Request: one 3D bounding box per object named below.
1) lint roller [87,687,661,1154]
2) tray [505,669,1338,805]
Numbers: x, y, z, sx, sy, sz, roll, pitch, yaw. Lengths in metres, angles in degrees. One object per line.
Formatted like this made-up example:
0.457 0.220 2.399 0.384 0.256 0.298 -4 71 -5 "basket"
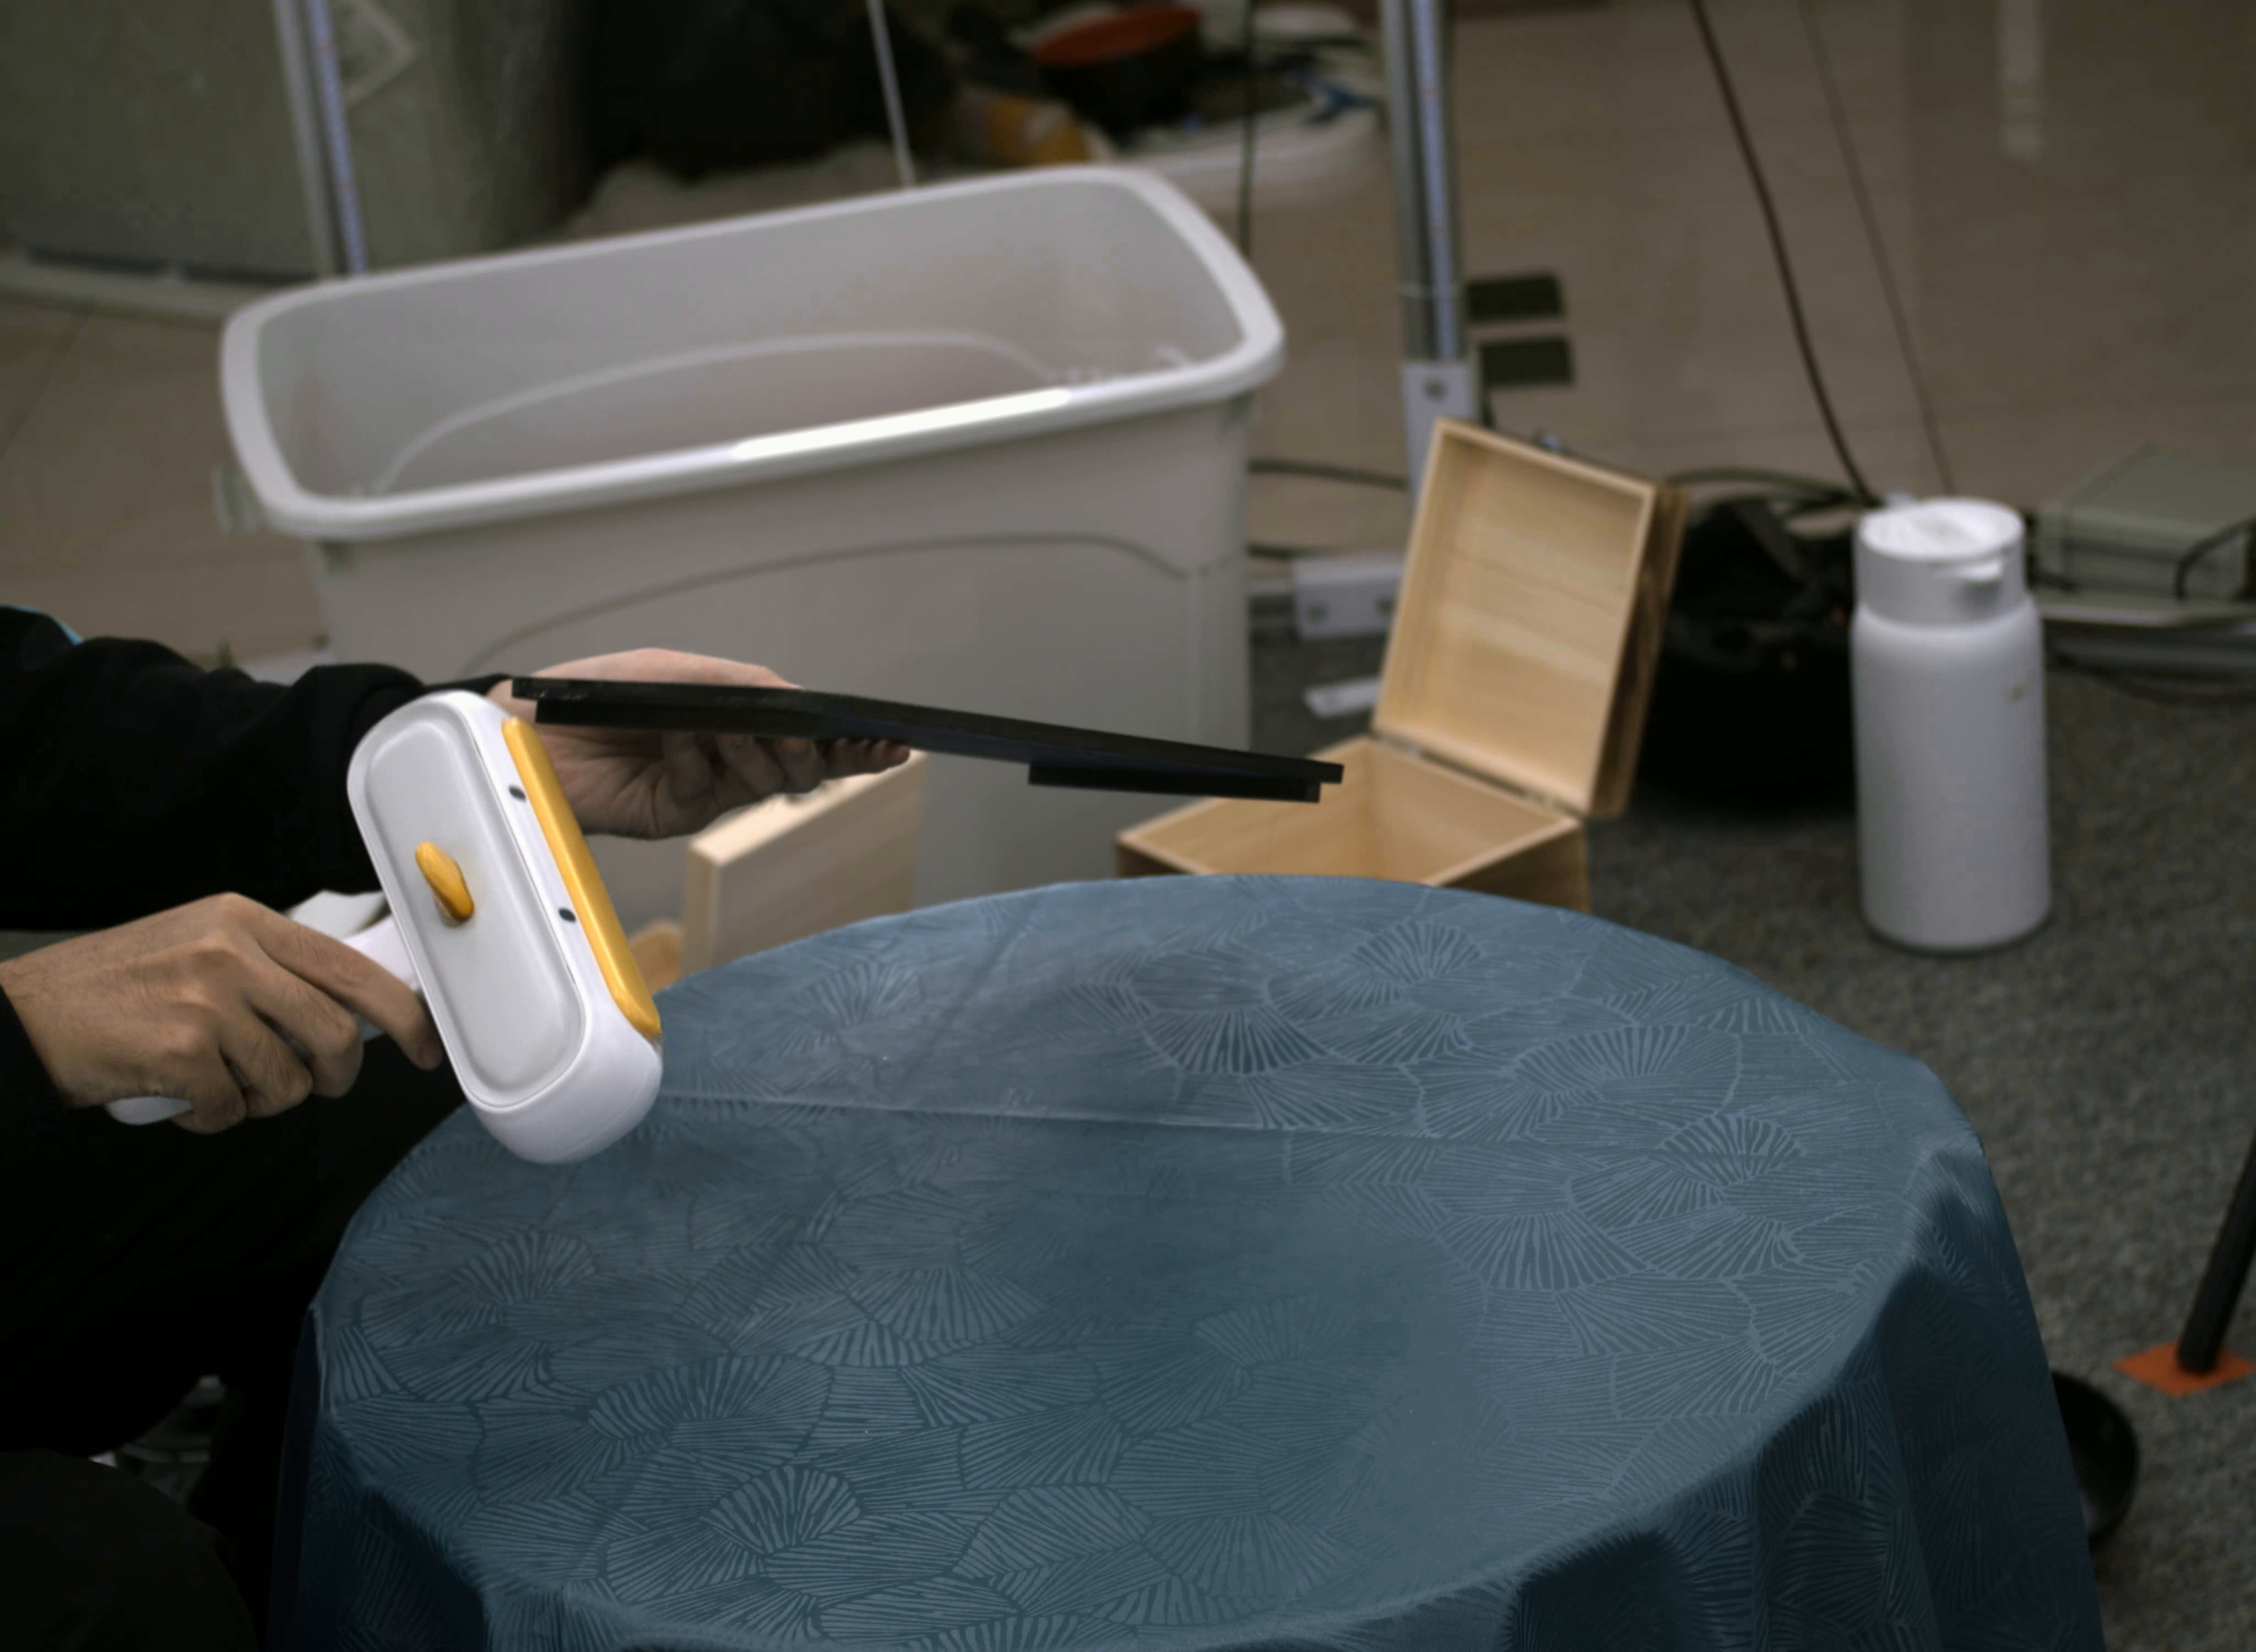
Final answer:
-0.278 0.059 2.020 0.192 0.075 0.190 -32 61 2 "lint roller"
-0.076 -0.033 2.165 0.169 0.018 0.306 4 -3 43 "tray"
